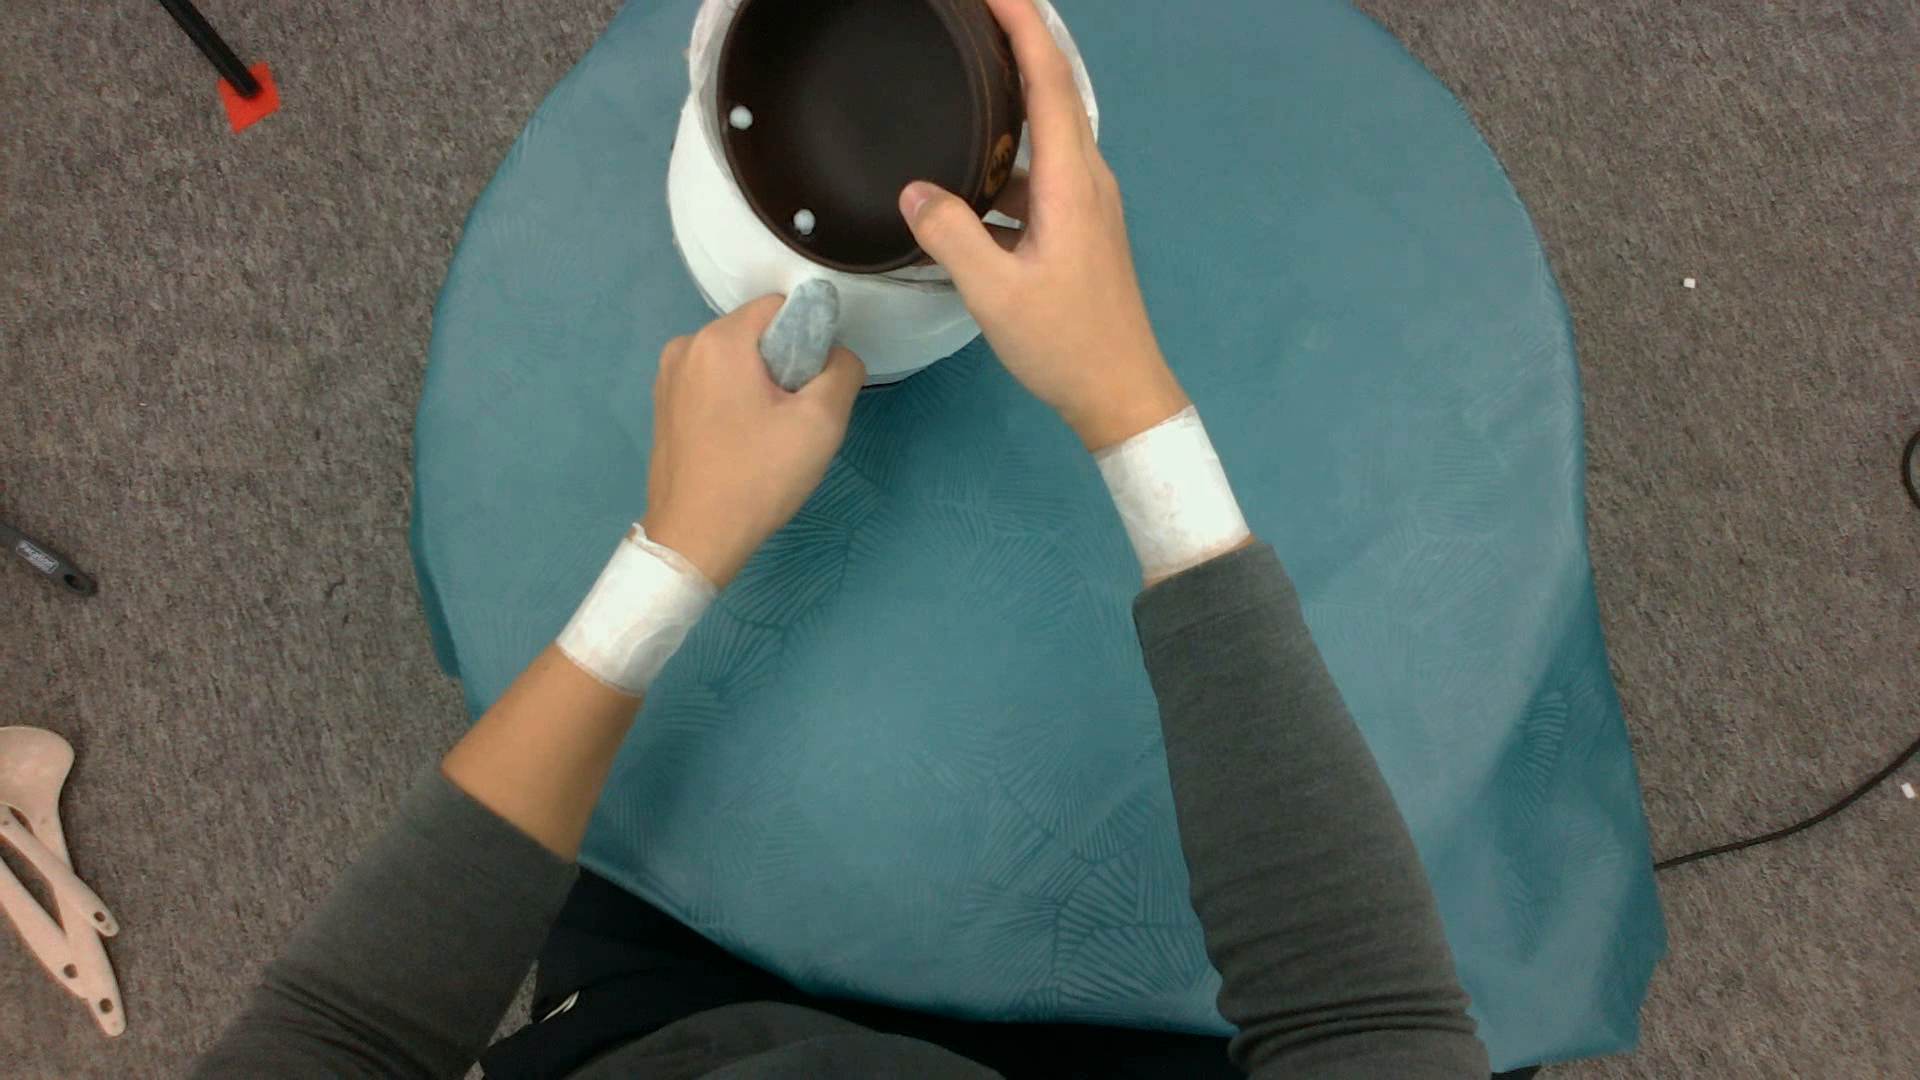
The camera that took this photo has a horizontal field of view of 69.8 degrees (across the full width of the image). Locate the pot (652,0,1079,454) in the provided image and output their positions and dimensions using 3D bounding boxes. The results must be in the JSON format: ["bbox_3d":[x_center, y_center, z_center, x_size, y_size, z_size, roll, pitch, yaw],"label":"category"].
[{"bbox_3d":[-0.058,-0.155,0.634,0.179,0.136,0.234,23,69,-11],"label":"pot"}]

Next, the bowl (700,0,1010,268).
[{"bbox_3d":[-0.034,-0.170,0.536,0.118,0.070,0.117,10,117,20],"label":"bowl"}]
